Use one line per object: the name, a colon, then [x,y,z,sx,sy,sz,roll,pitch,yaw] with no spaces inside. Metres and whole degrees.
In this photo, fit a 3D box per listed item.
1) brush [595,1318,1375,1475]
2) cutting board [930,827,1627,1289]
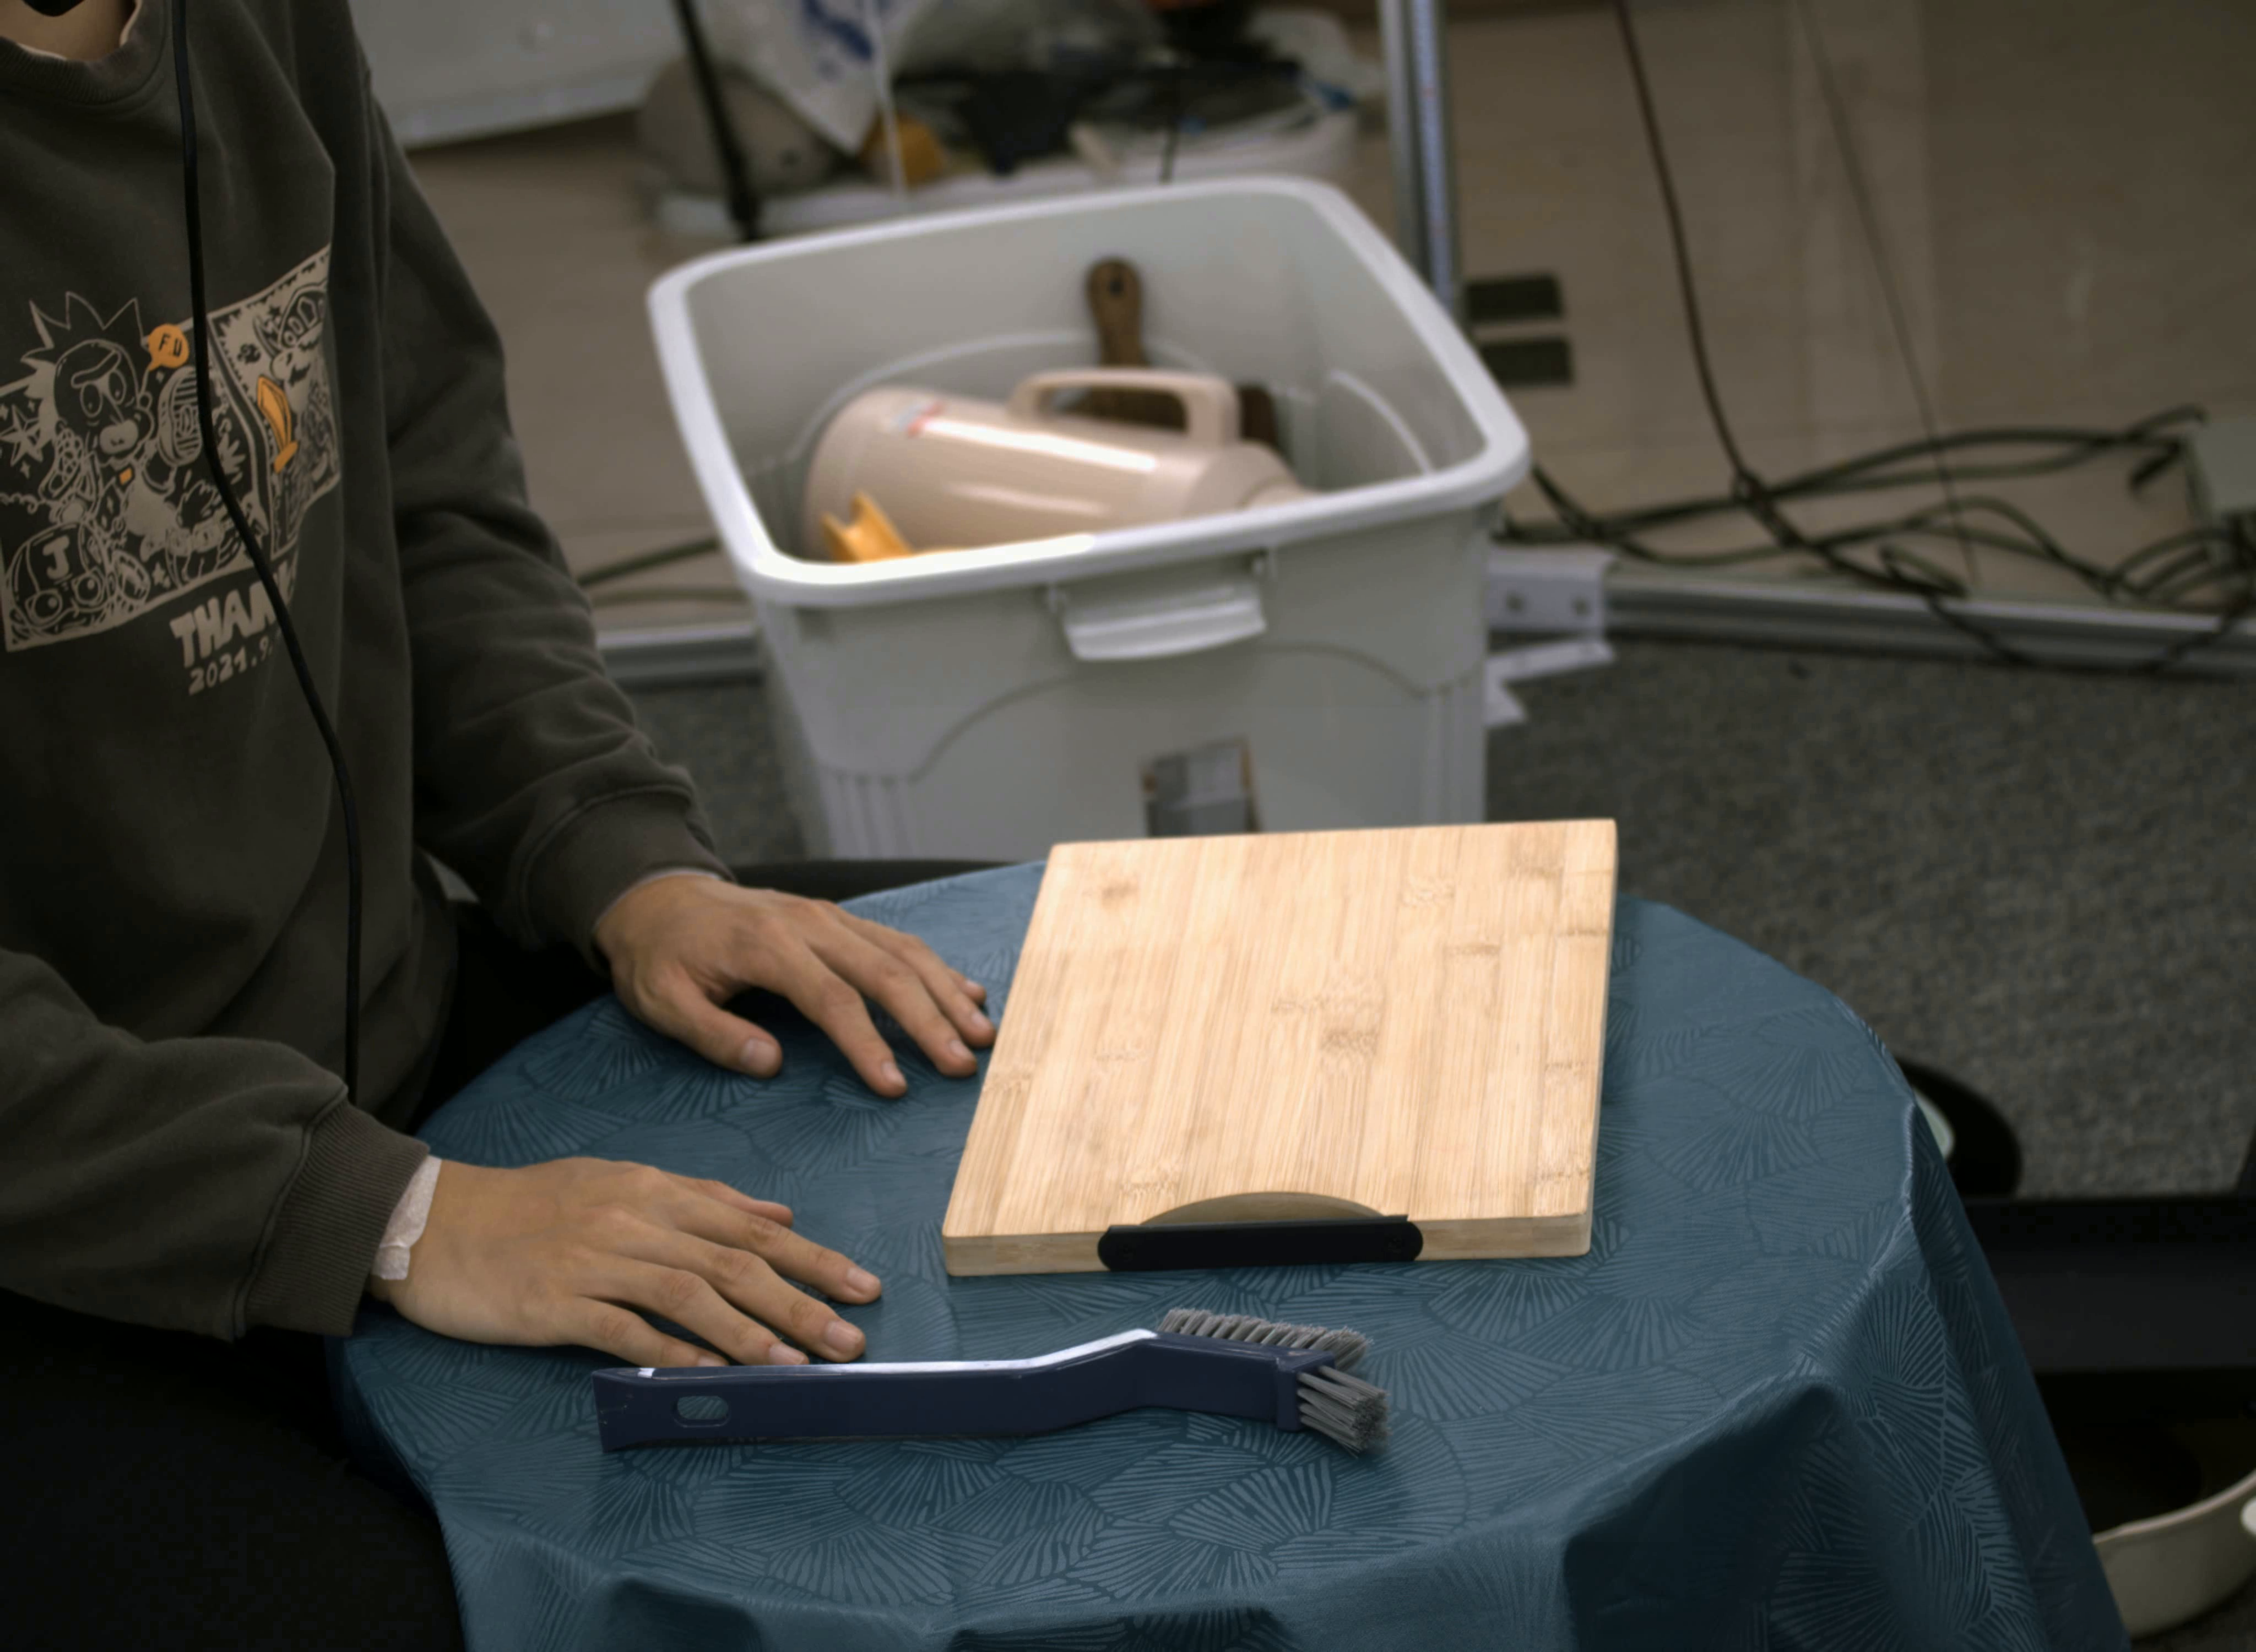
brush: [-0.052,0.202,1.989,0.273,0.034,0.094,-5,25,1]
cutting board: [0.067,0.085,2.225,0.250,0.024,0.343,-4,25,8]
